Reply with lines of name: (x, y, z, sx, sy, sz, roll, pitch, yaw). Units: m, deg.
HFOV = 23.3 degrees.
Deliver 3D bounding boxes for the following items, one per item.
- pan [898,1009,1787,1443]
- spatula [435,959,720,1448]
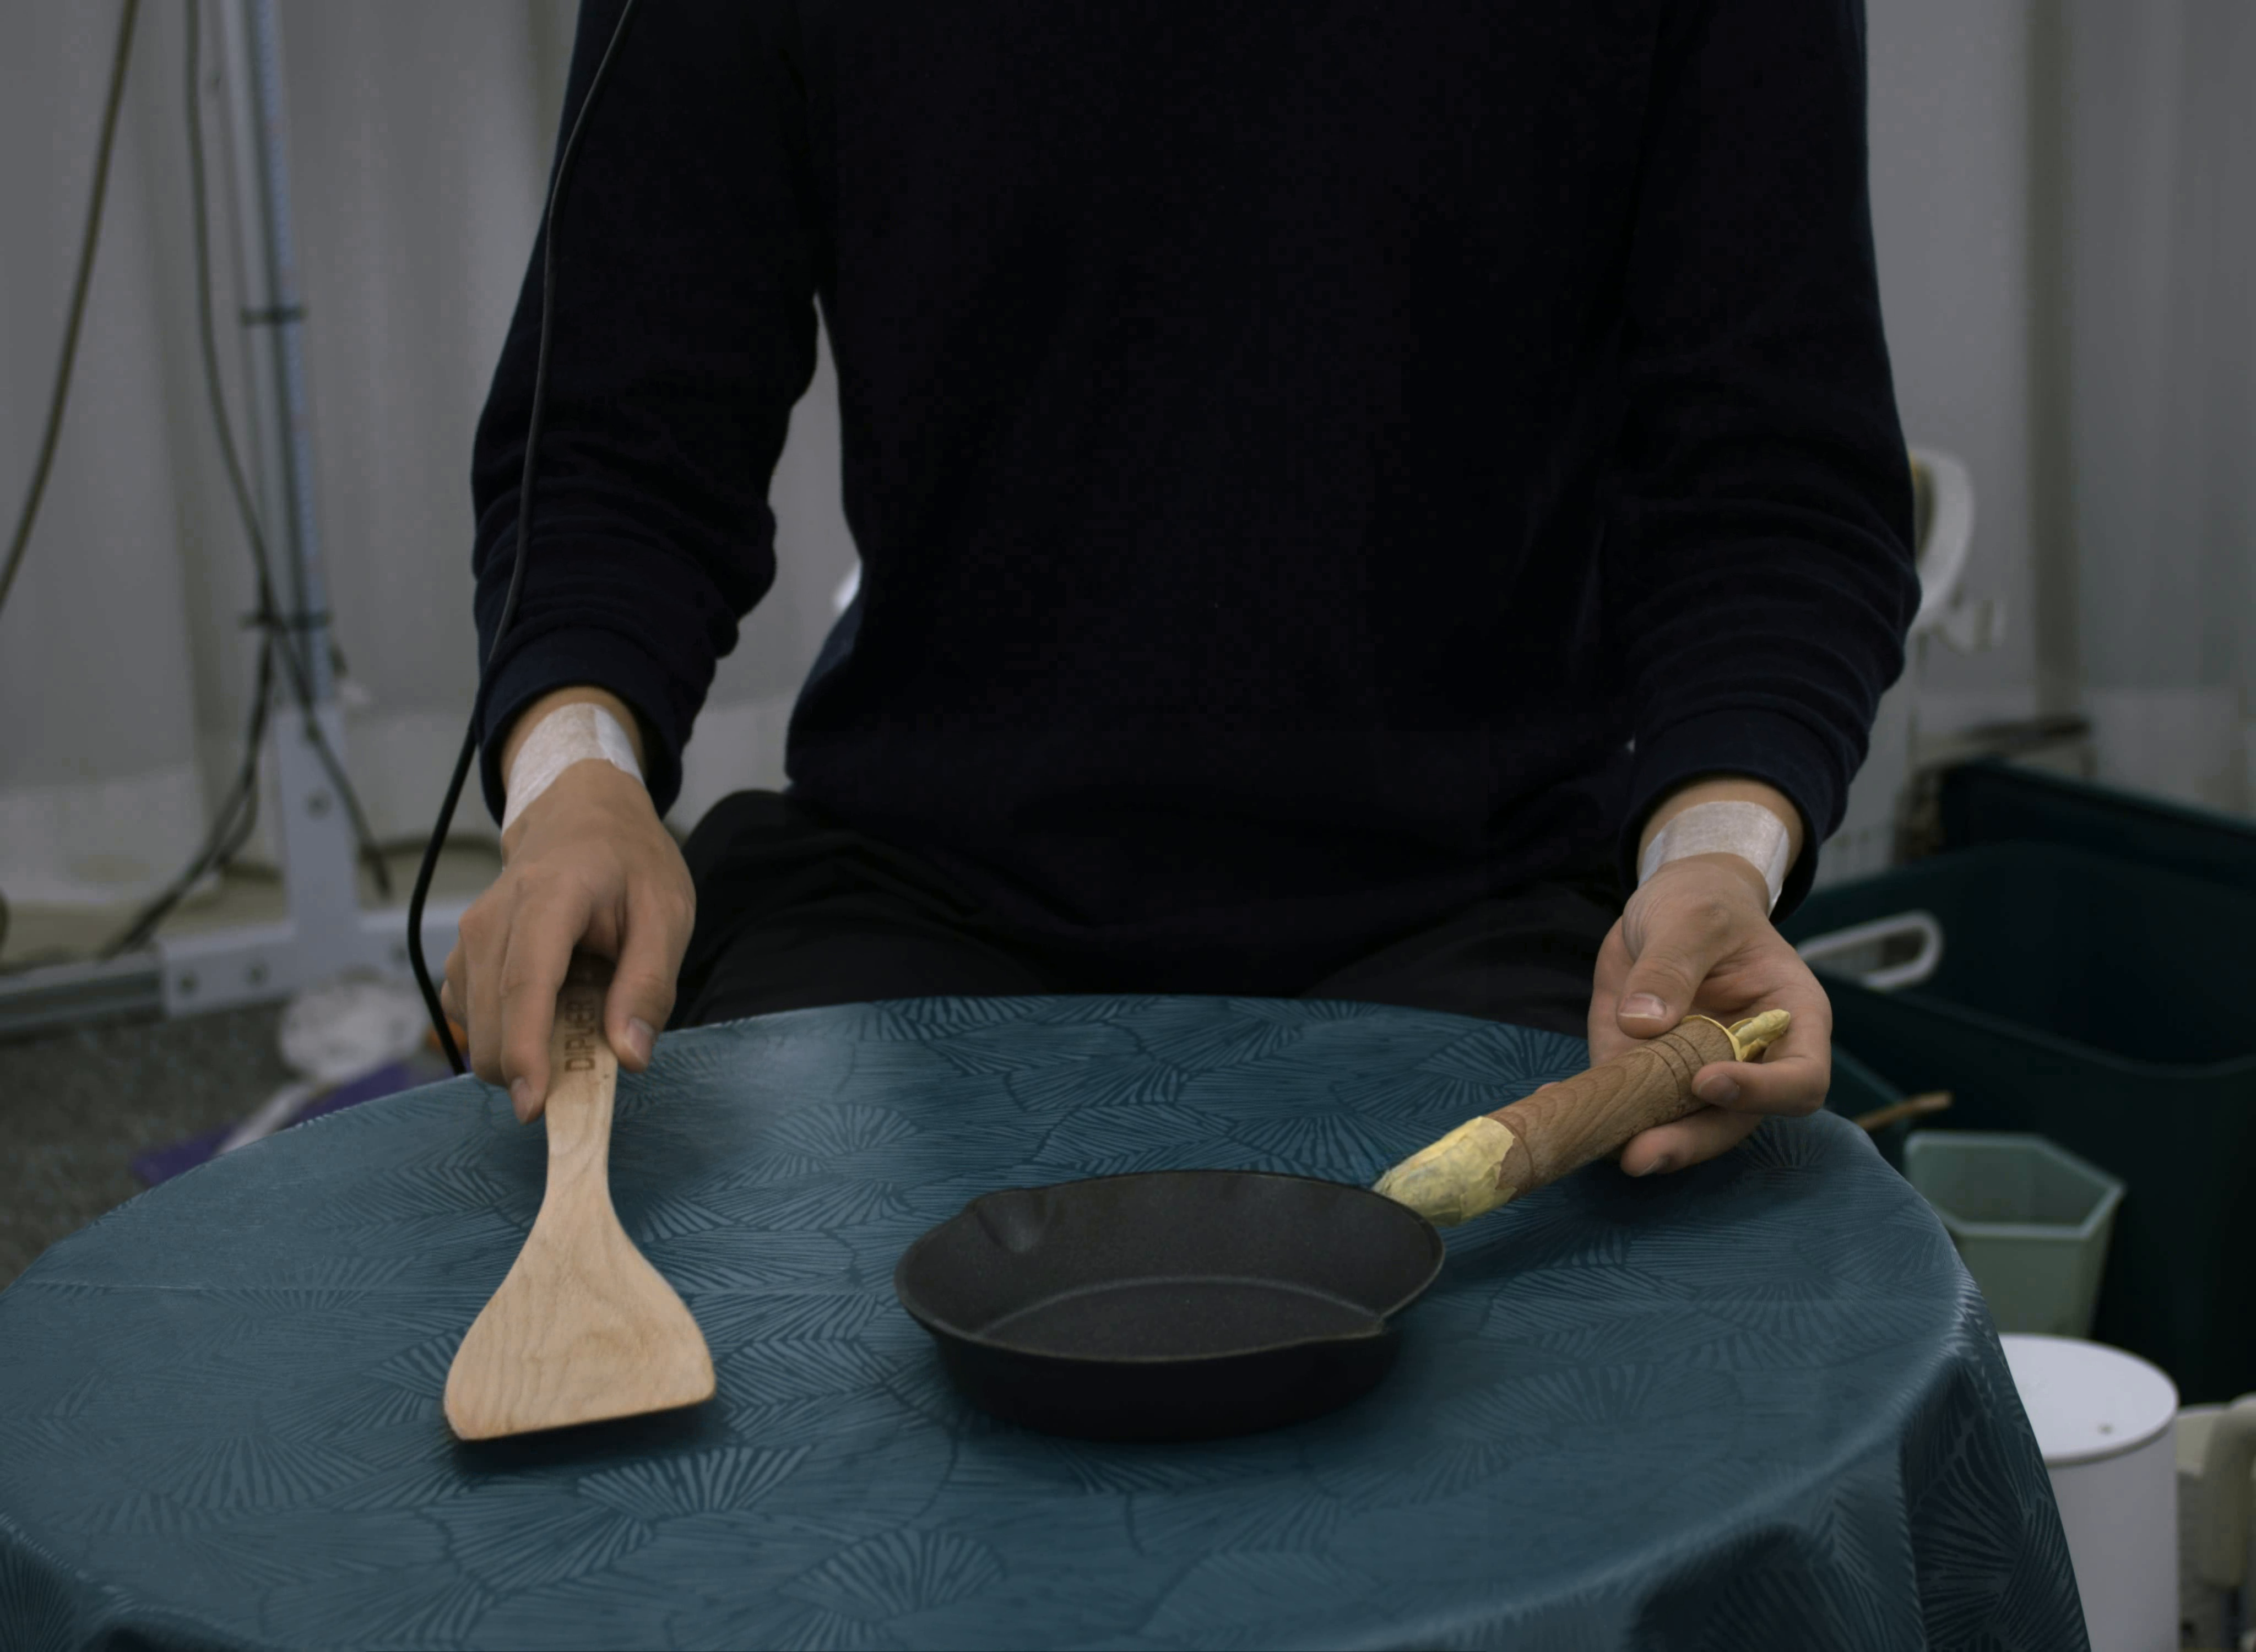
pan: (0.079, 0.113, 1.607, 0.323, 0.049, 0.170, -16, 19, -35)
spatula: (-0.166, 0.108, 1.656, 0.079, 0.016, 0.331, -4, 24, -4)
